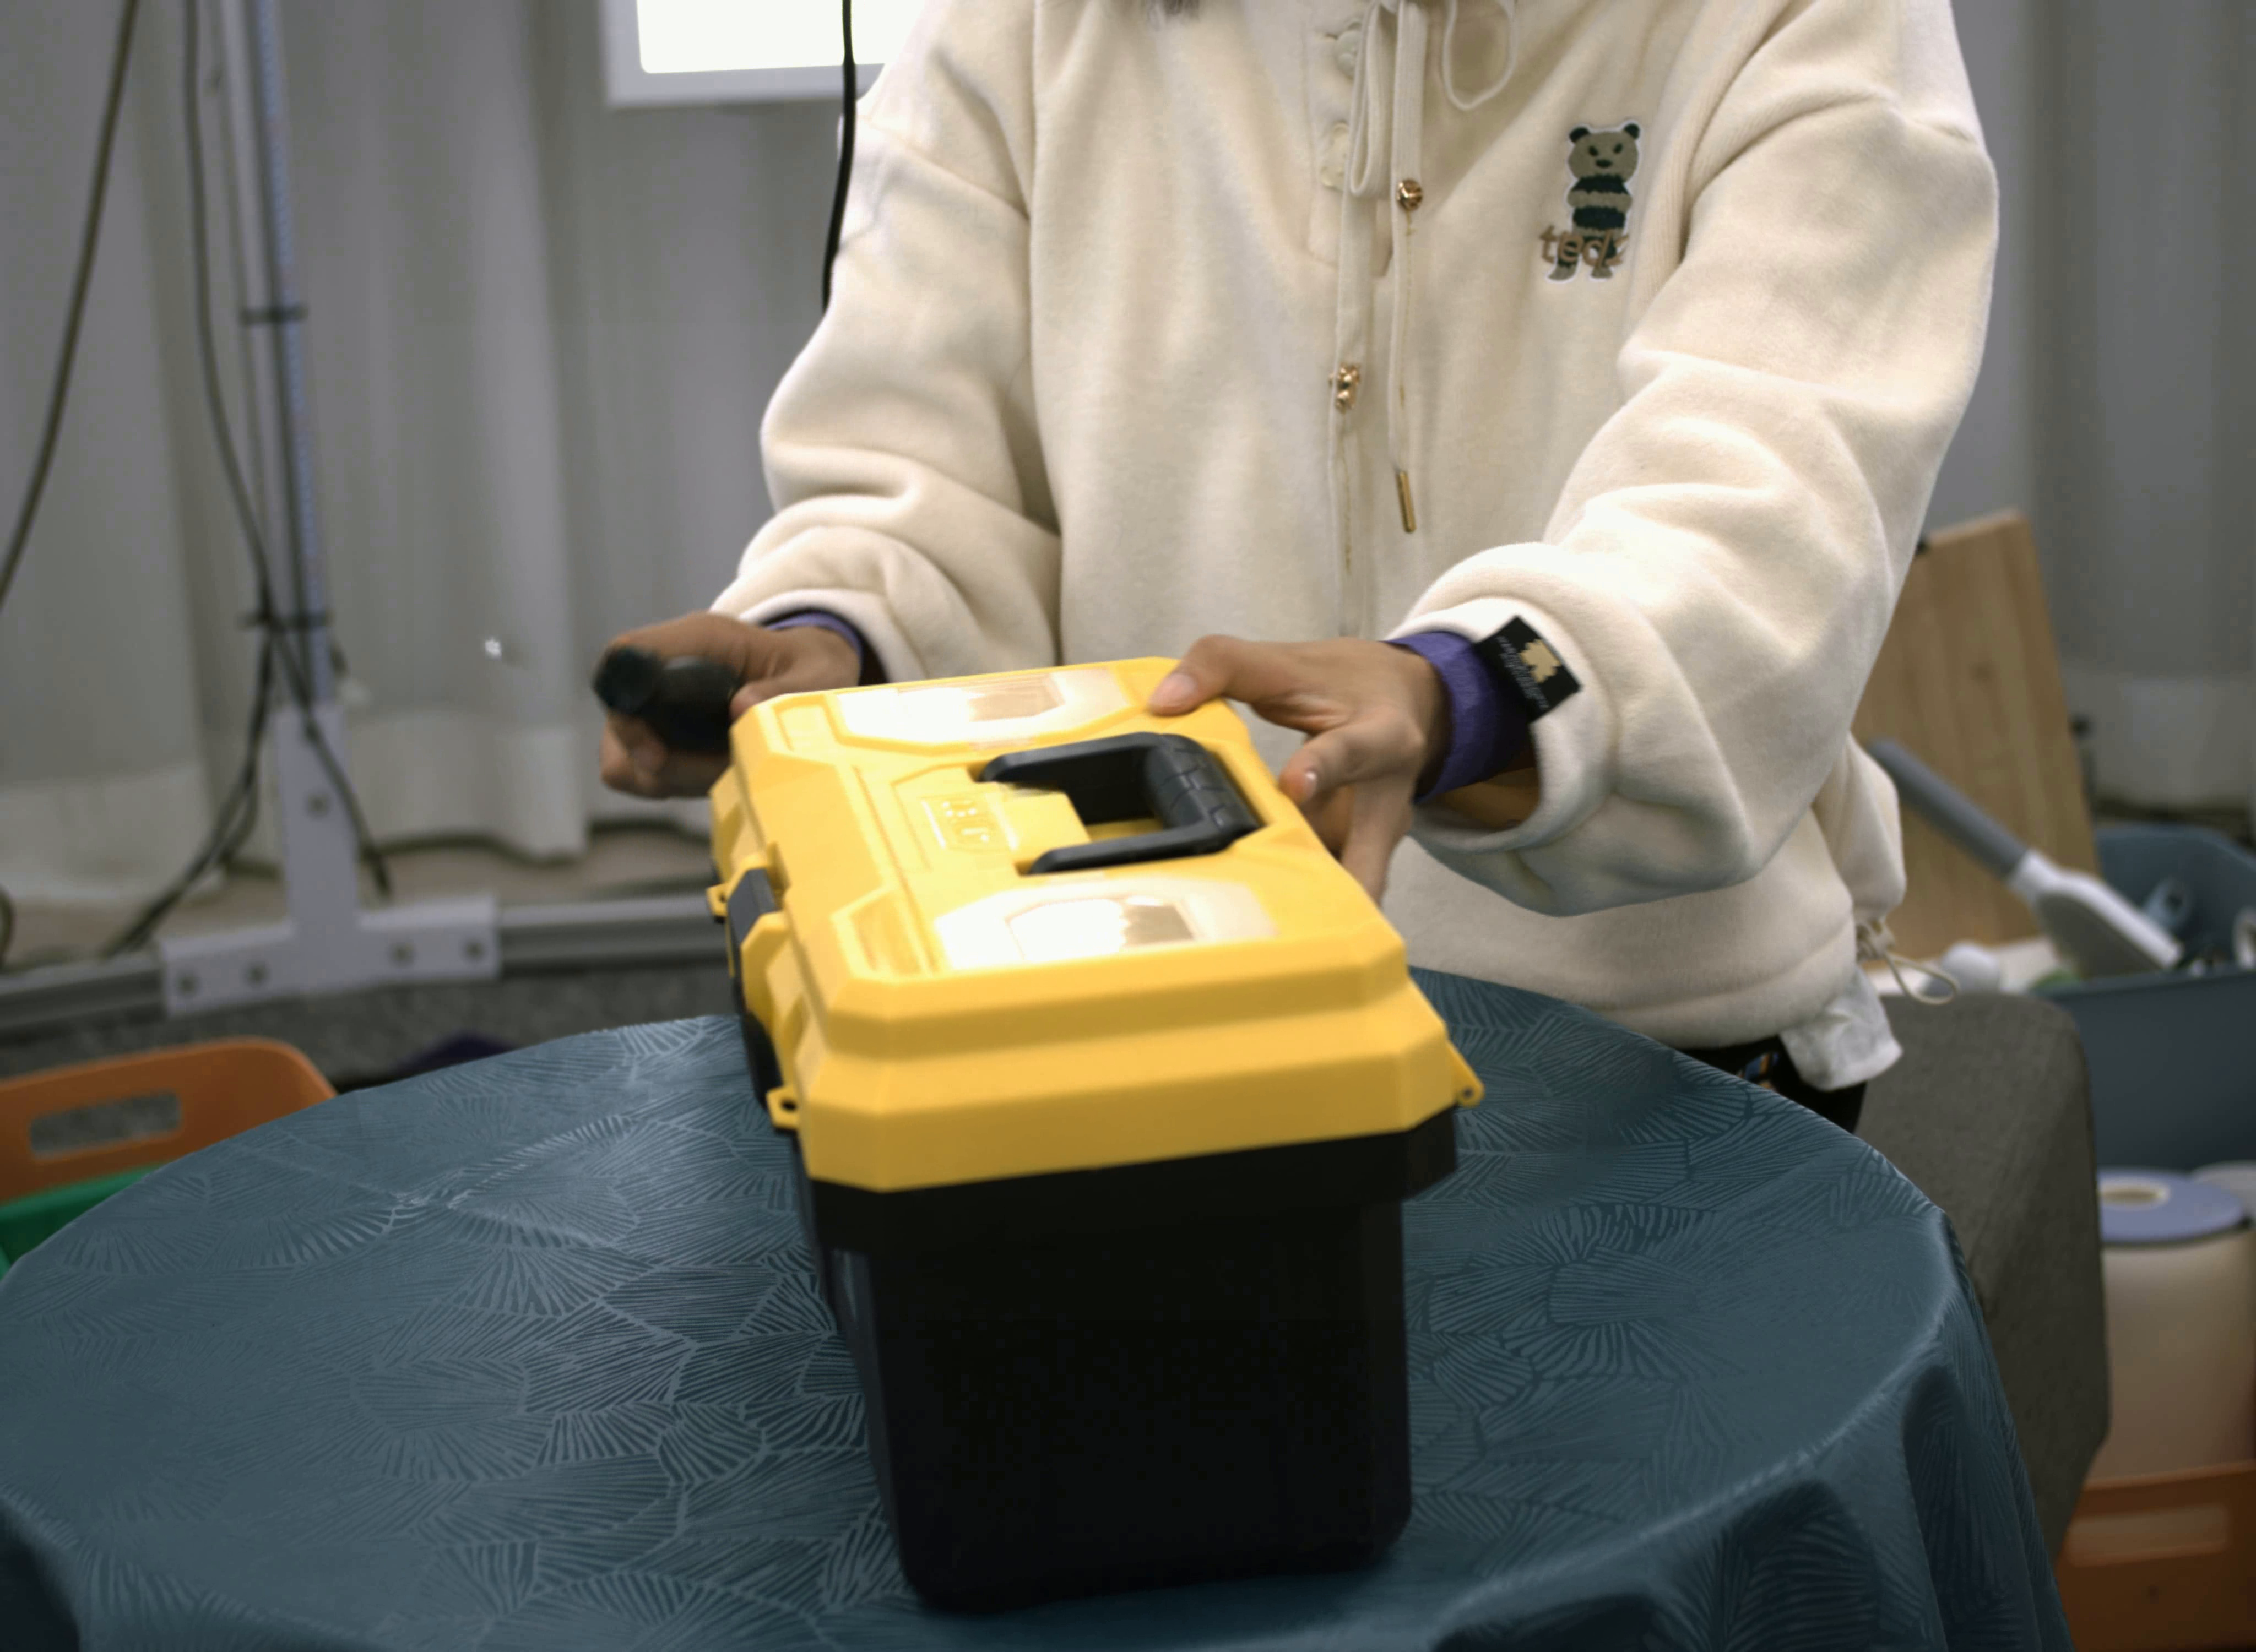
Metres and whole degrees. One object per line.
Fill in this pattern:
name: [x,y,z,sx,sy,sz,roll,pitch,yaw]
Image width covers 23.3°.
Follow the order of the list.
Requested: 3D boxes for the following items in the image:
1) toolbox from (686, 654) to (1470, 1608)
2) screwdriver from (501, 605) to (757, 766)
toolbox: [-0.020,0.075,1.527,0.180,0.172,0.354,-6,15,-7]
screwdriver: [-0.161,-0.044,1.749,0.031,0.031,0.196,2,-6,17]
